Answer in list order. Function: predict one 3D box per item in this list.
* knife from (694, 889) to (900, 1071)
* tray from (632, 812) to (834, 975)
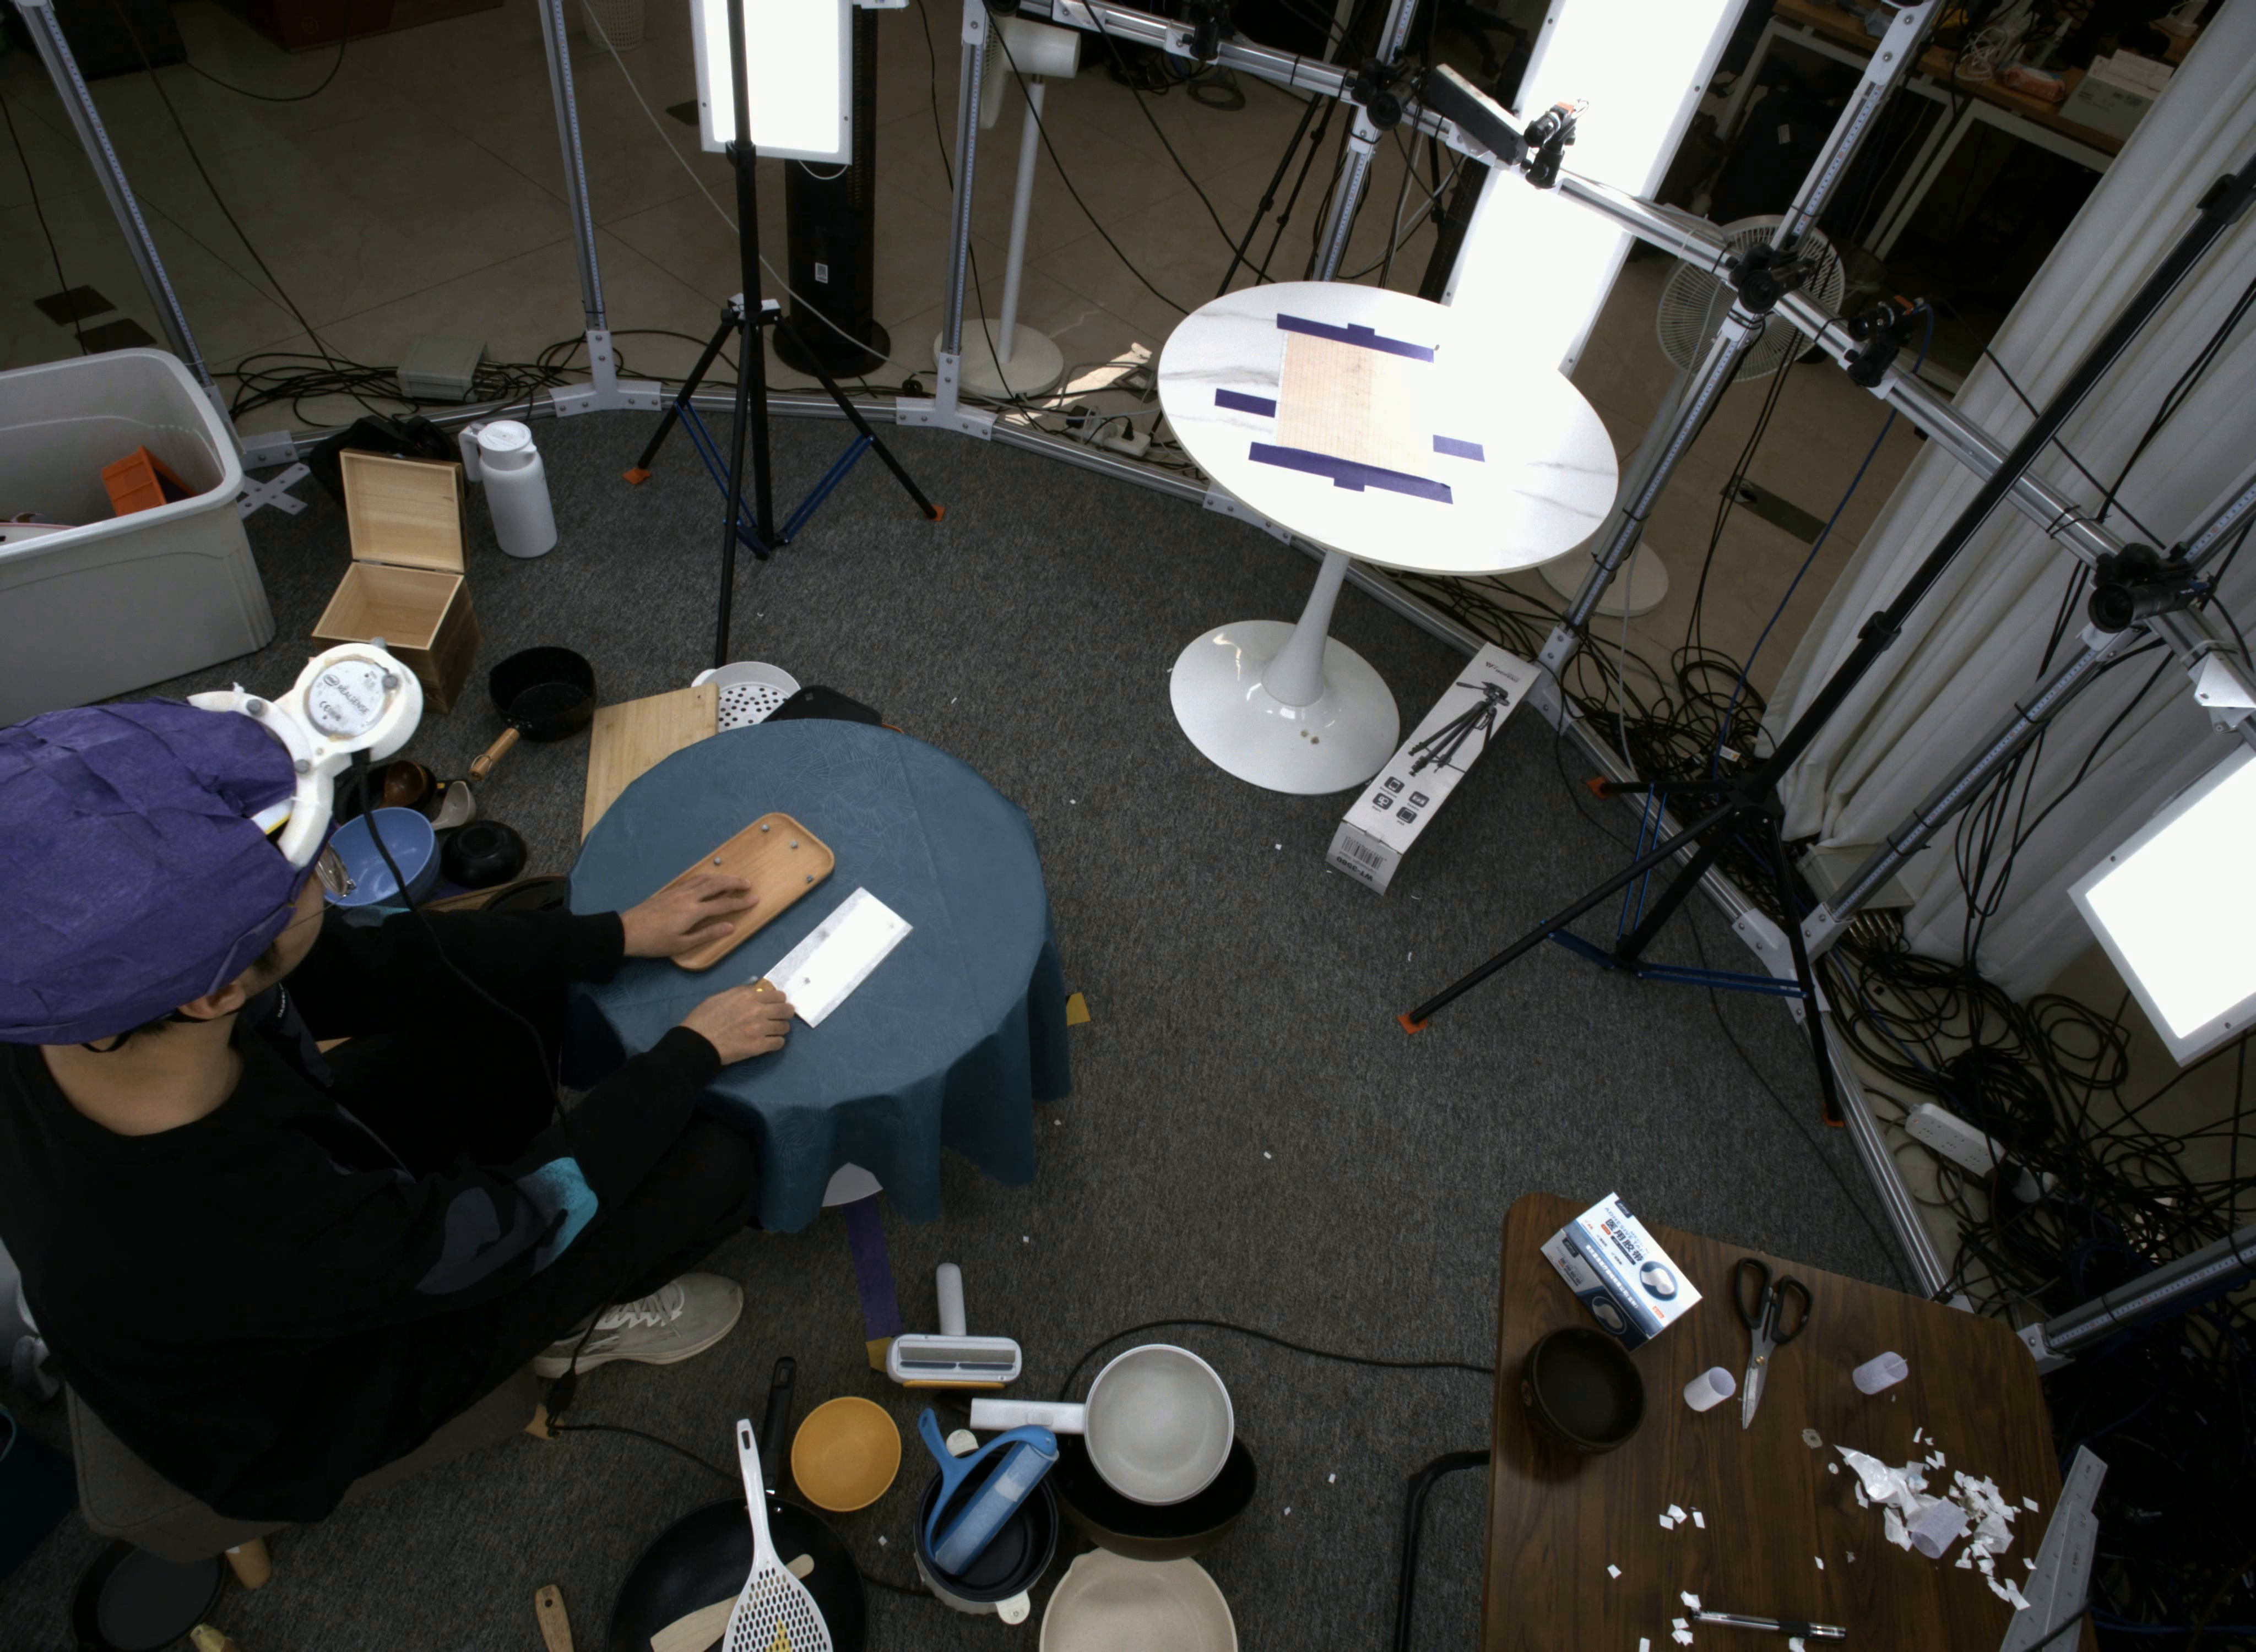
[{"bbox_3d":[-0.390,0.192,1.570,0.092,0.021,0.305,38,53,5],"label":"knife"},{"bbox_3d":[-0.494,0.080,1.625,0.127,0.023,0.251,37,54,16],"label":"tray"}]
